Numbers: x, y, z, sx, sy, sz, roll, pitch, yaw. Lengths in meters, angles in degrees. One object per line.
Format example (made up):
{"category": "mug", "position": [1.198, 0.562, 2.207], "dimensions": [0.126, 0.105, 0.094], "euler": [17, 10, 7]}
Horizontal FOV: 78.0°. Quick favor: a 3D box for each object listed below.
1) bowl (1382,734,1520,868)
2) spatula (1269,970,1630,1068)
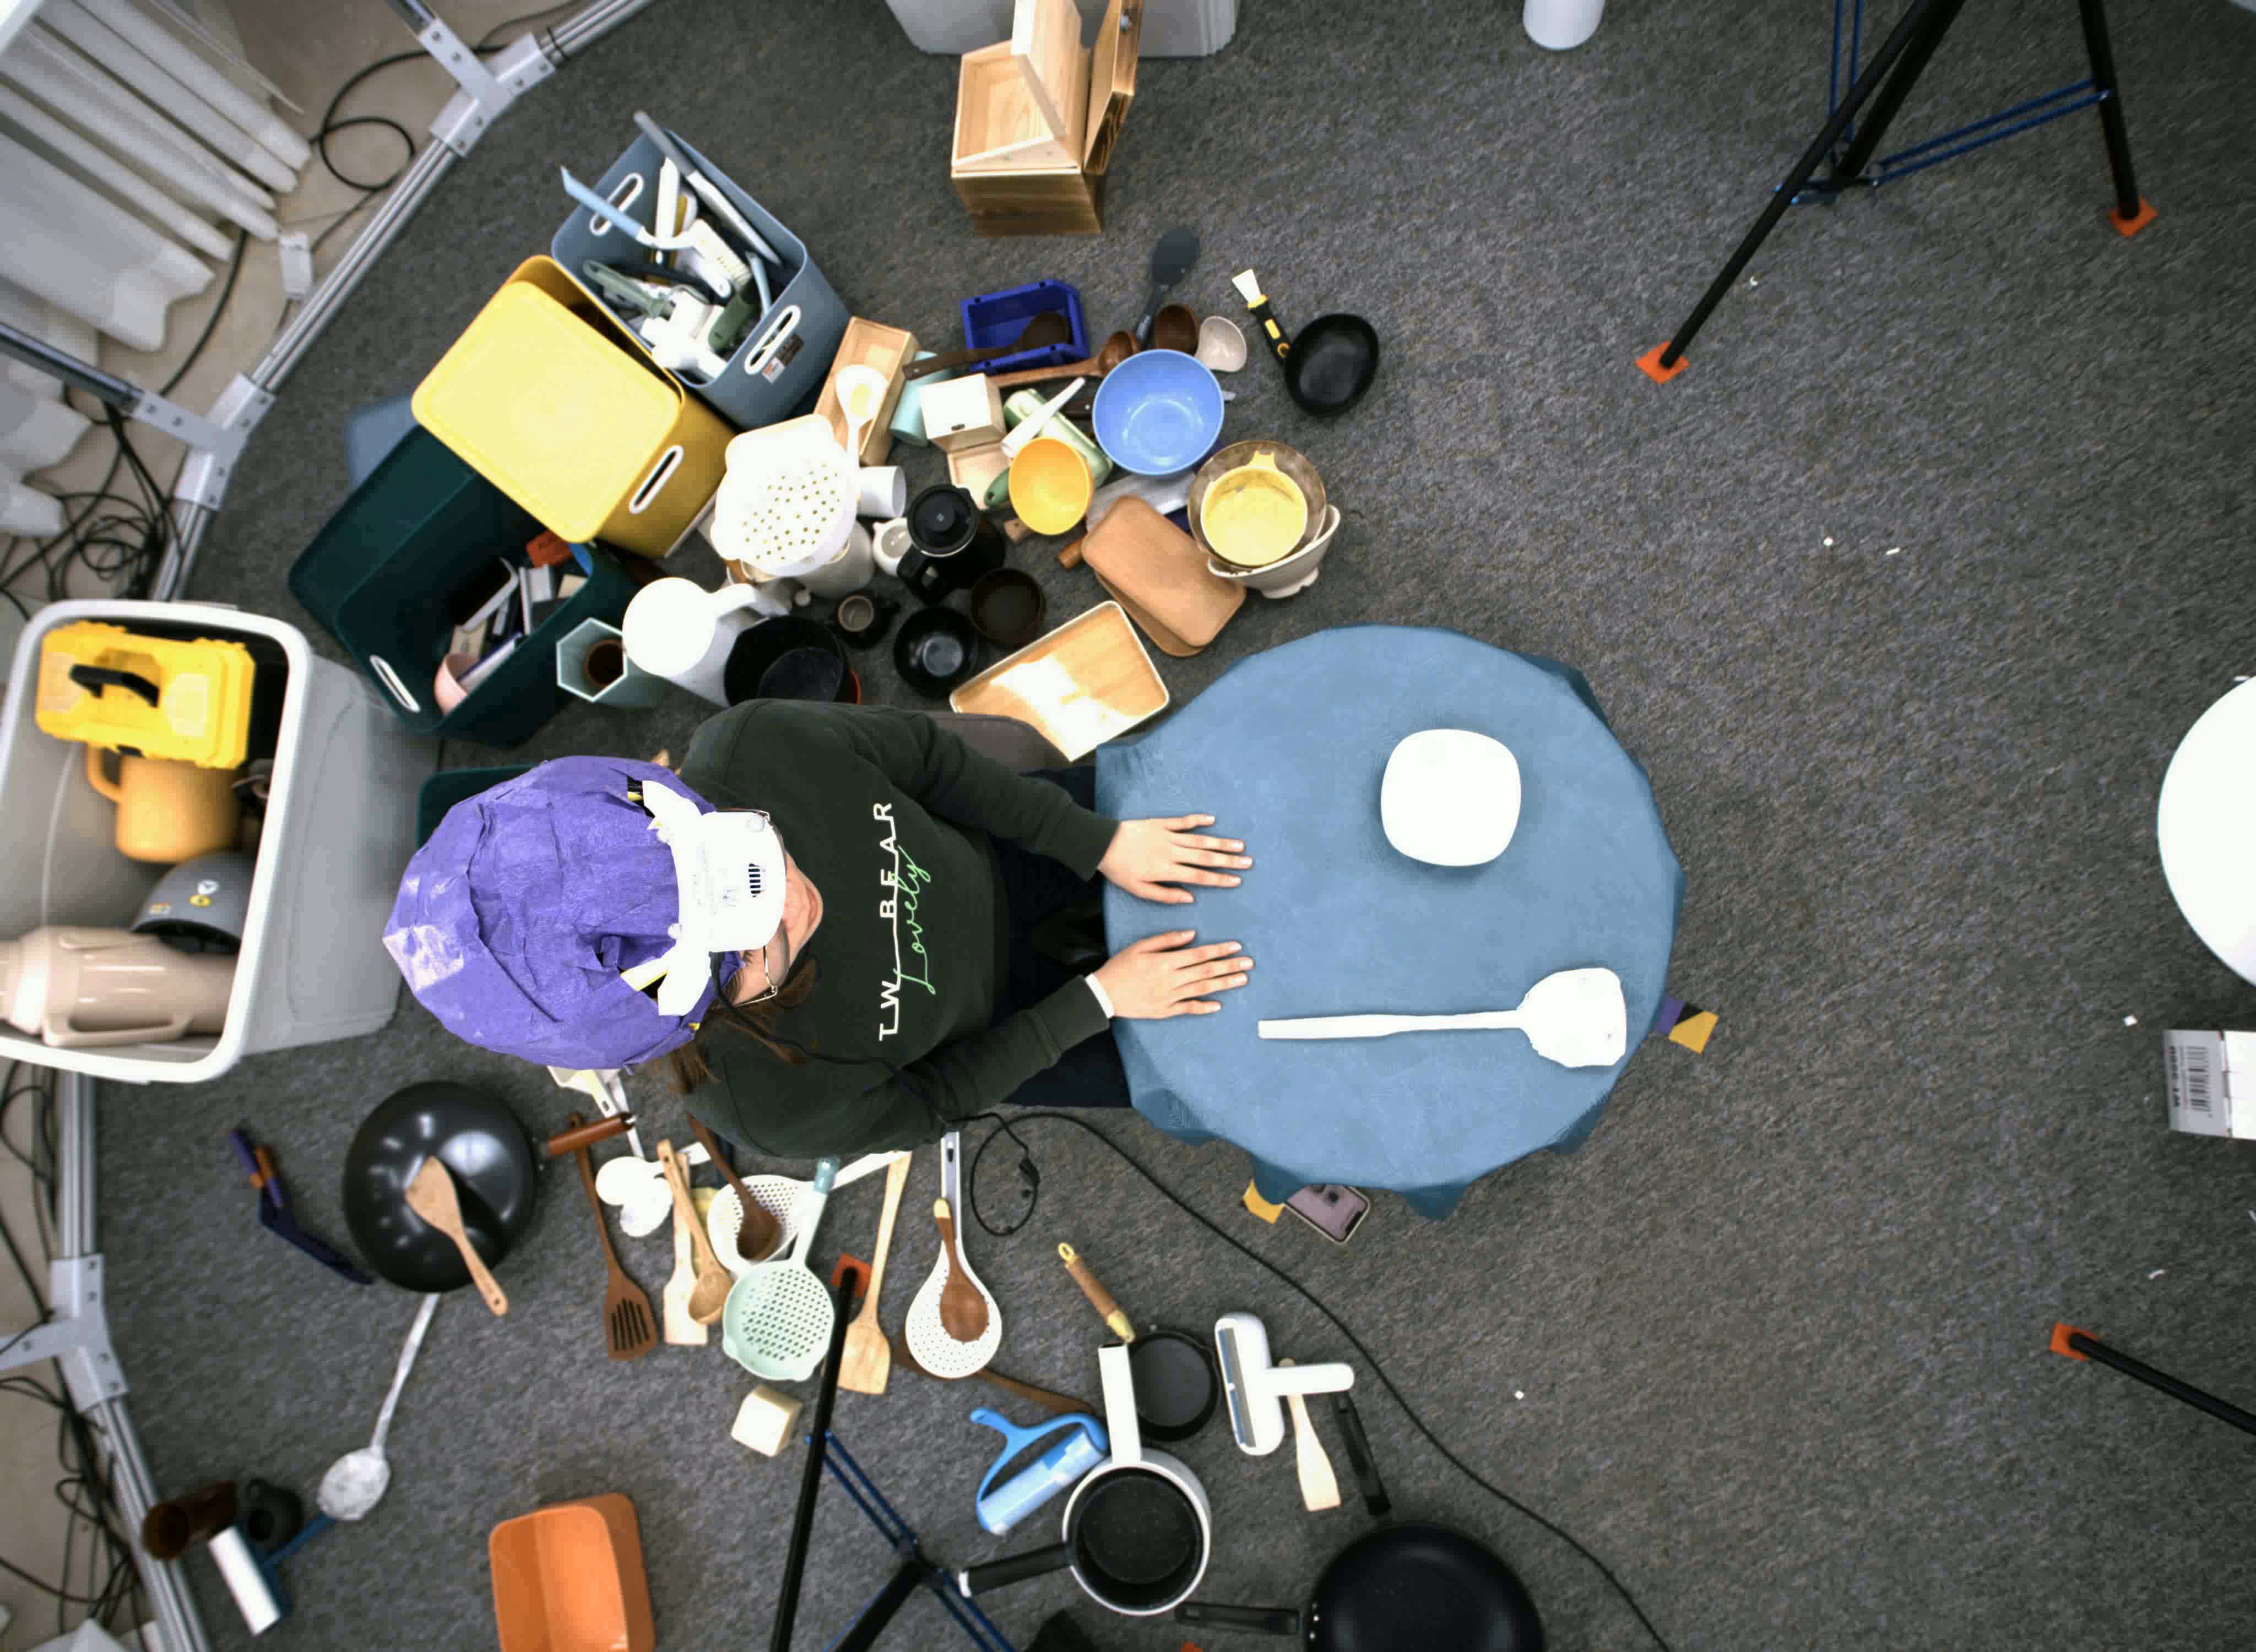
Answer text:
{"category": "bowl", "position": [0.334, -0.024, 1.431], "dimensions": [0.152, 0.059, 0.150], "euler": [-1, 83, 8]}
{"category": "spatula", "position": [0.326, 0.199, 1.426], "dimensions": [0.366, 0.045, 0.098], "euler": [-3, 87, 10]}
